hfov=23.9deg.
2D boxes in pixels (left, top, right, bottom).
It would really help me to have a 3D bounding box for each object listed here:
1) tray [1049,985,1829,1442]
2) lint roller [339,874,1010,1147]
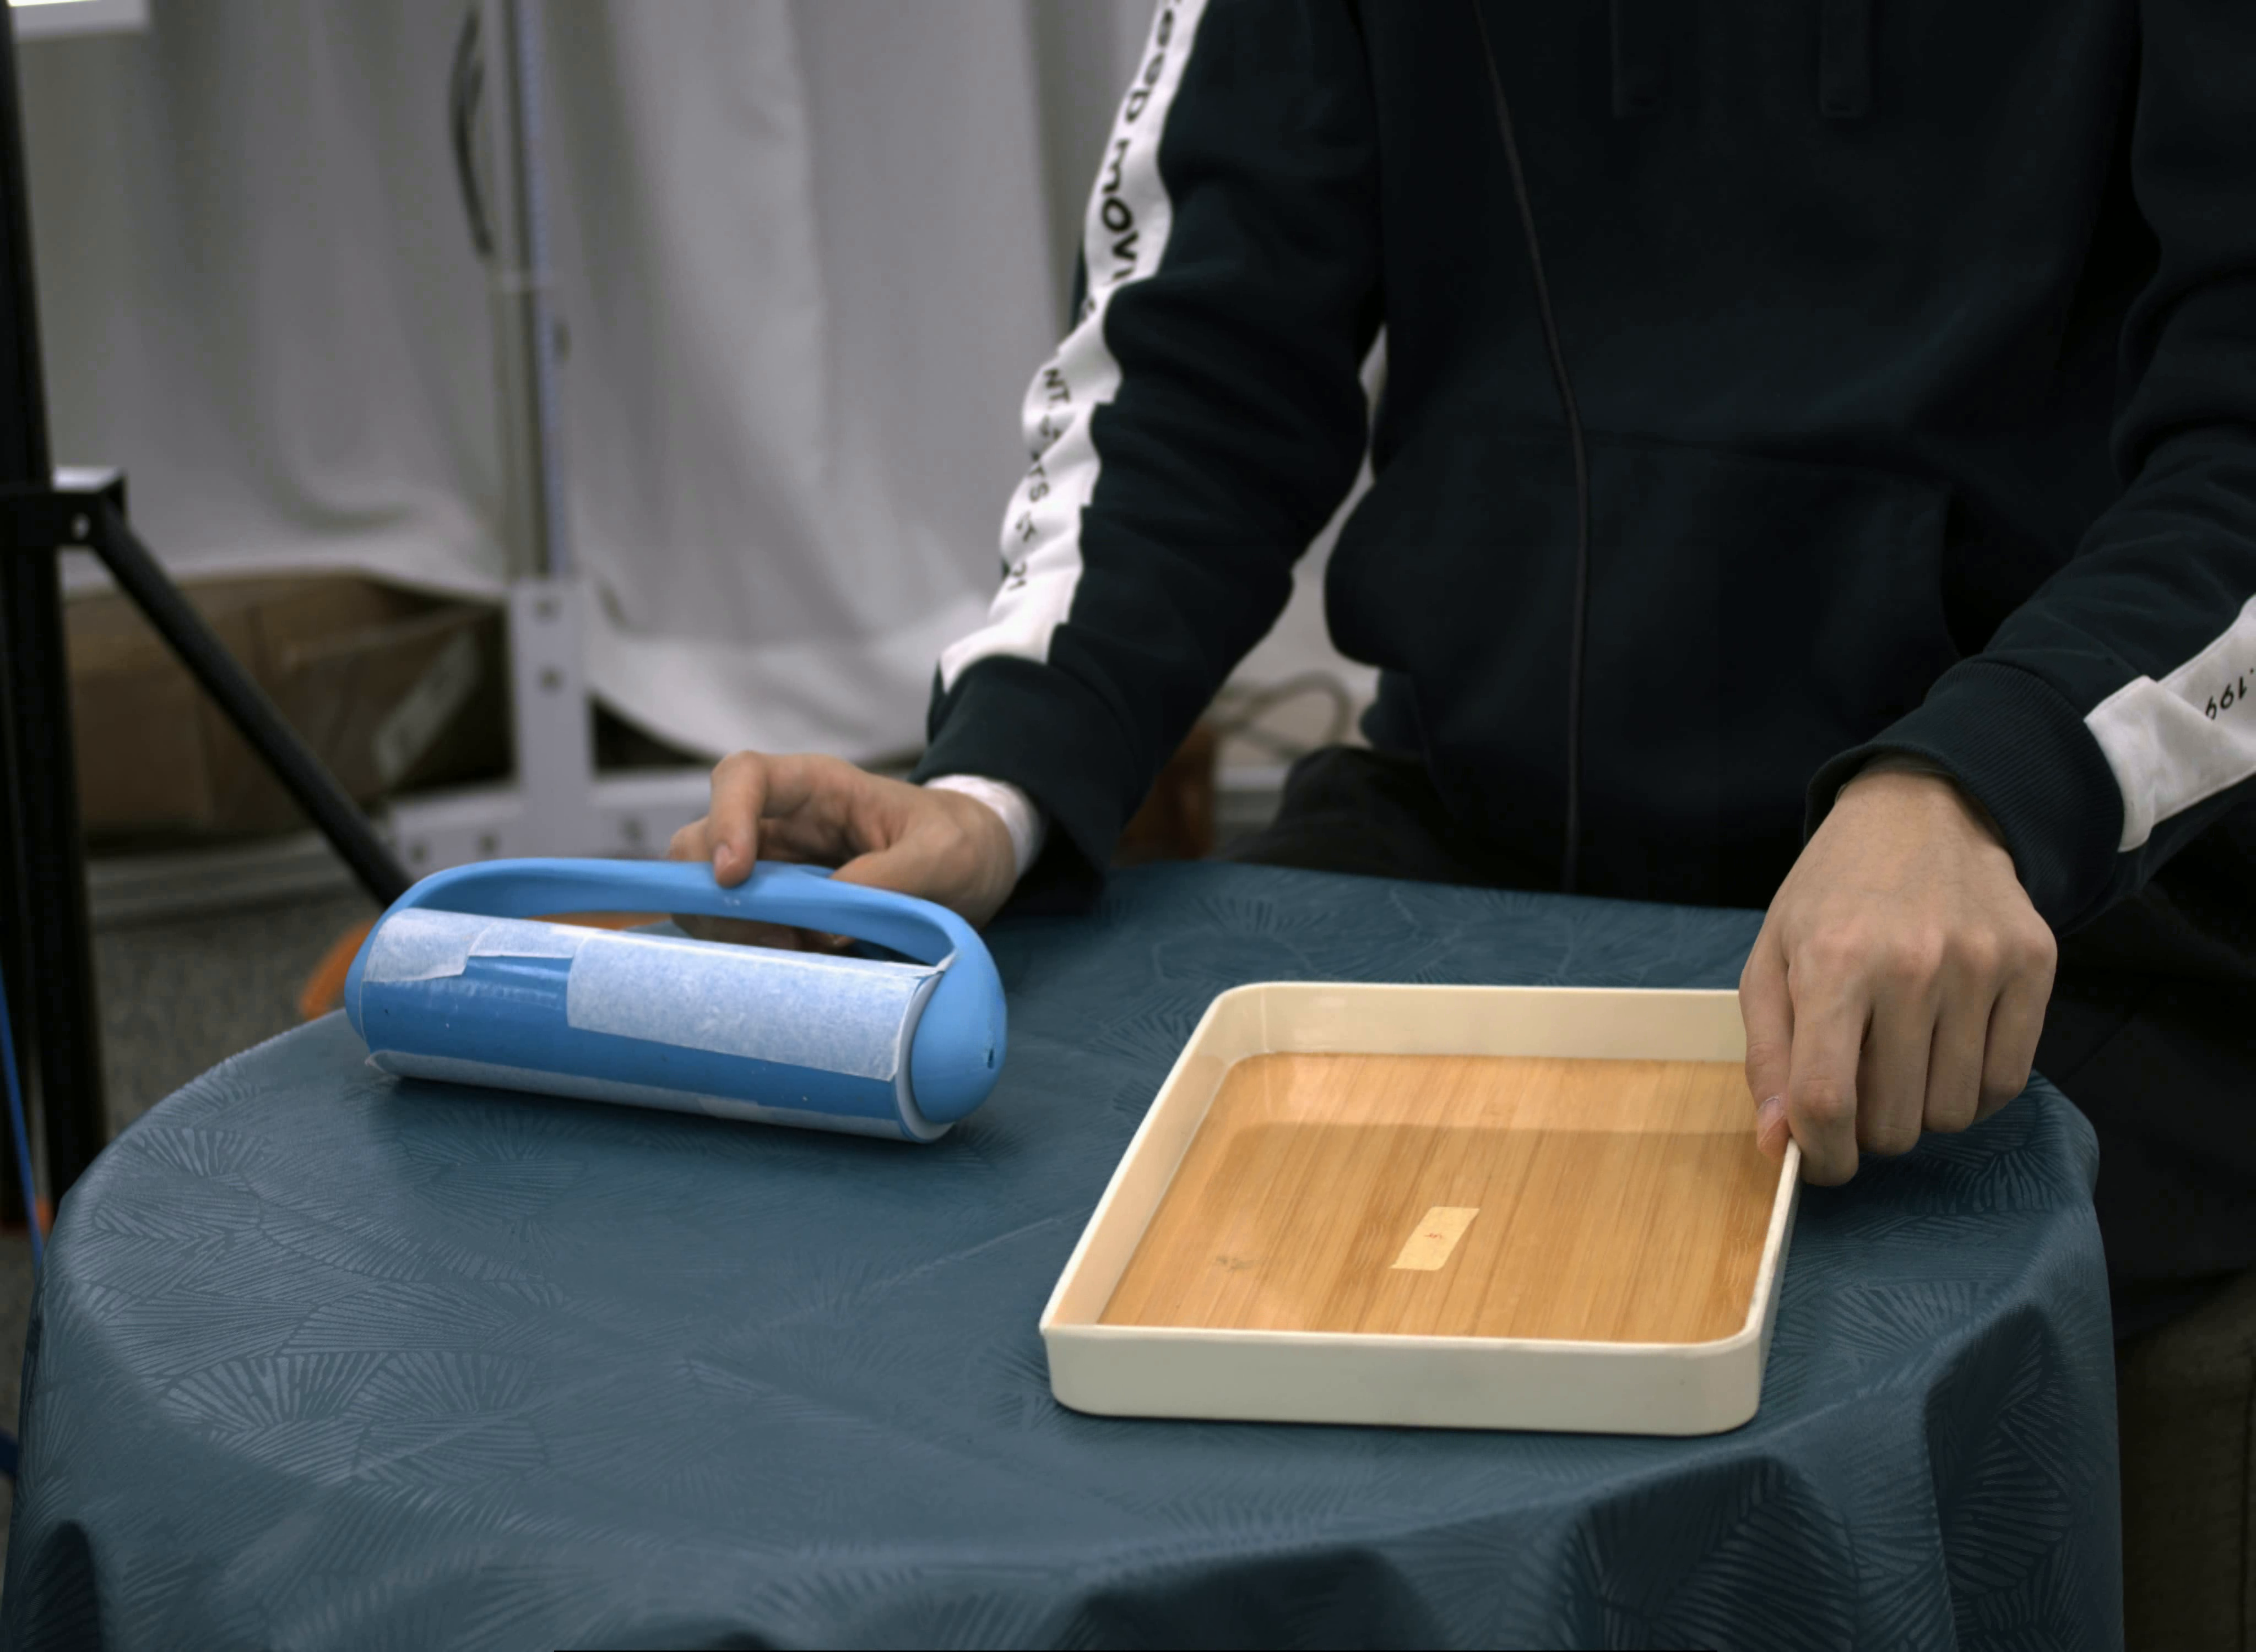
[{"bbox_3d":[0.097,0.105,1.505,0.192,0.027,0.299,1,16,12],"label":"tray"},{"bbox_3d":[-0.121,0.046,1.698,0.232,0.068,0.178,2,17,24],"label":"lint roller"}]
